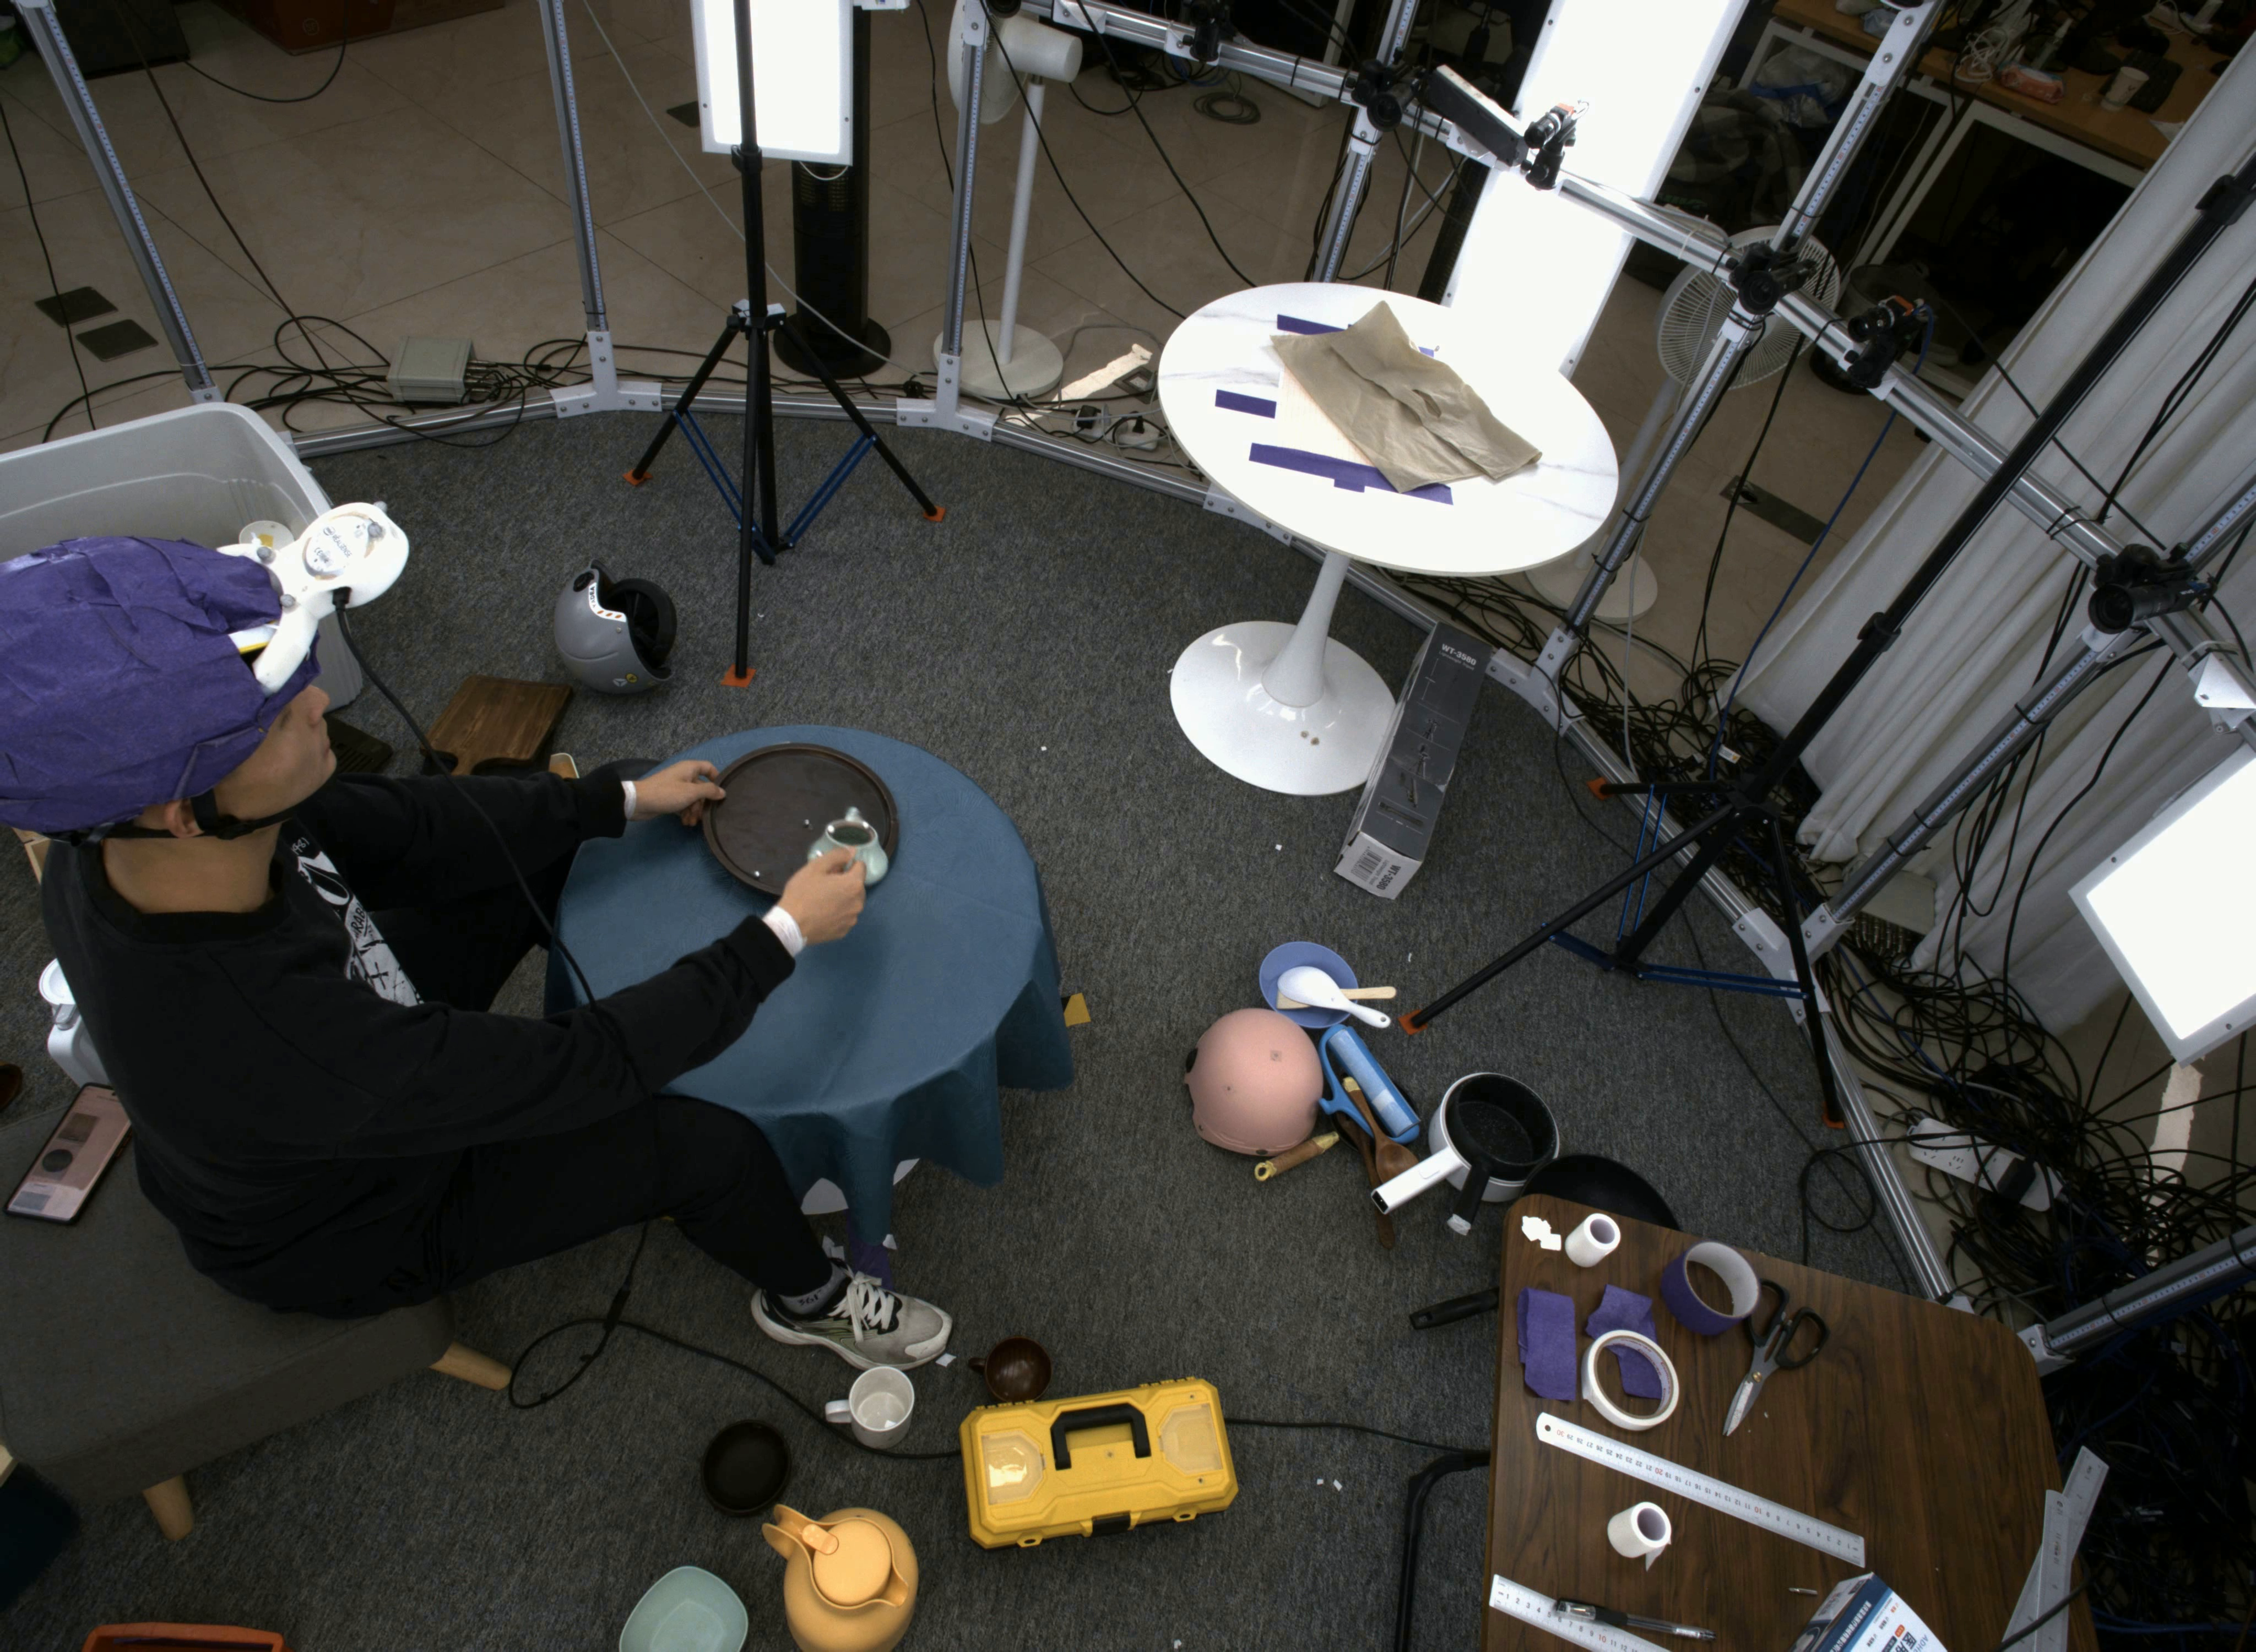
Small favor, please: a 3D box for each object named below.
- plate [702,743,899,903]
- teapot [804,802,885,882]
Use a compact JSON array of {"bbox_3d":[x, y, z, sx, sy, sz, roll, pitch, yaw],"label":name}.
[{"bbox_3d":[-0.427,-0.007,1.697,0.256,0.029,0.250,12,52,-14],"label":"plate"},{"bbox_3d":[-0.337,0.026,1.548,0.097,0.063,0.133,6,27,-17],"label":"teapot"}]
